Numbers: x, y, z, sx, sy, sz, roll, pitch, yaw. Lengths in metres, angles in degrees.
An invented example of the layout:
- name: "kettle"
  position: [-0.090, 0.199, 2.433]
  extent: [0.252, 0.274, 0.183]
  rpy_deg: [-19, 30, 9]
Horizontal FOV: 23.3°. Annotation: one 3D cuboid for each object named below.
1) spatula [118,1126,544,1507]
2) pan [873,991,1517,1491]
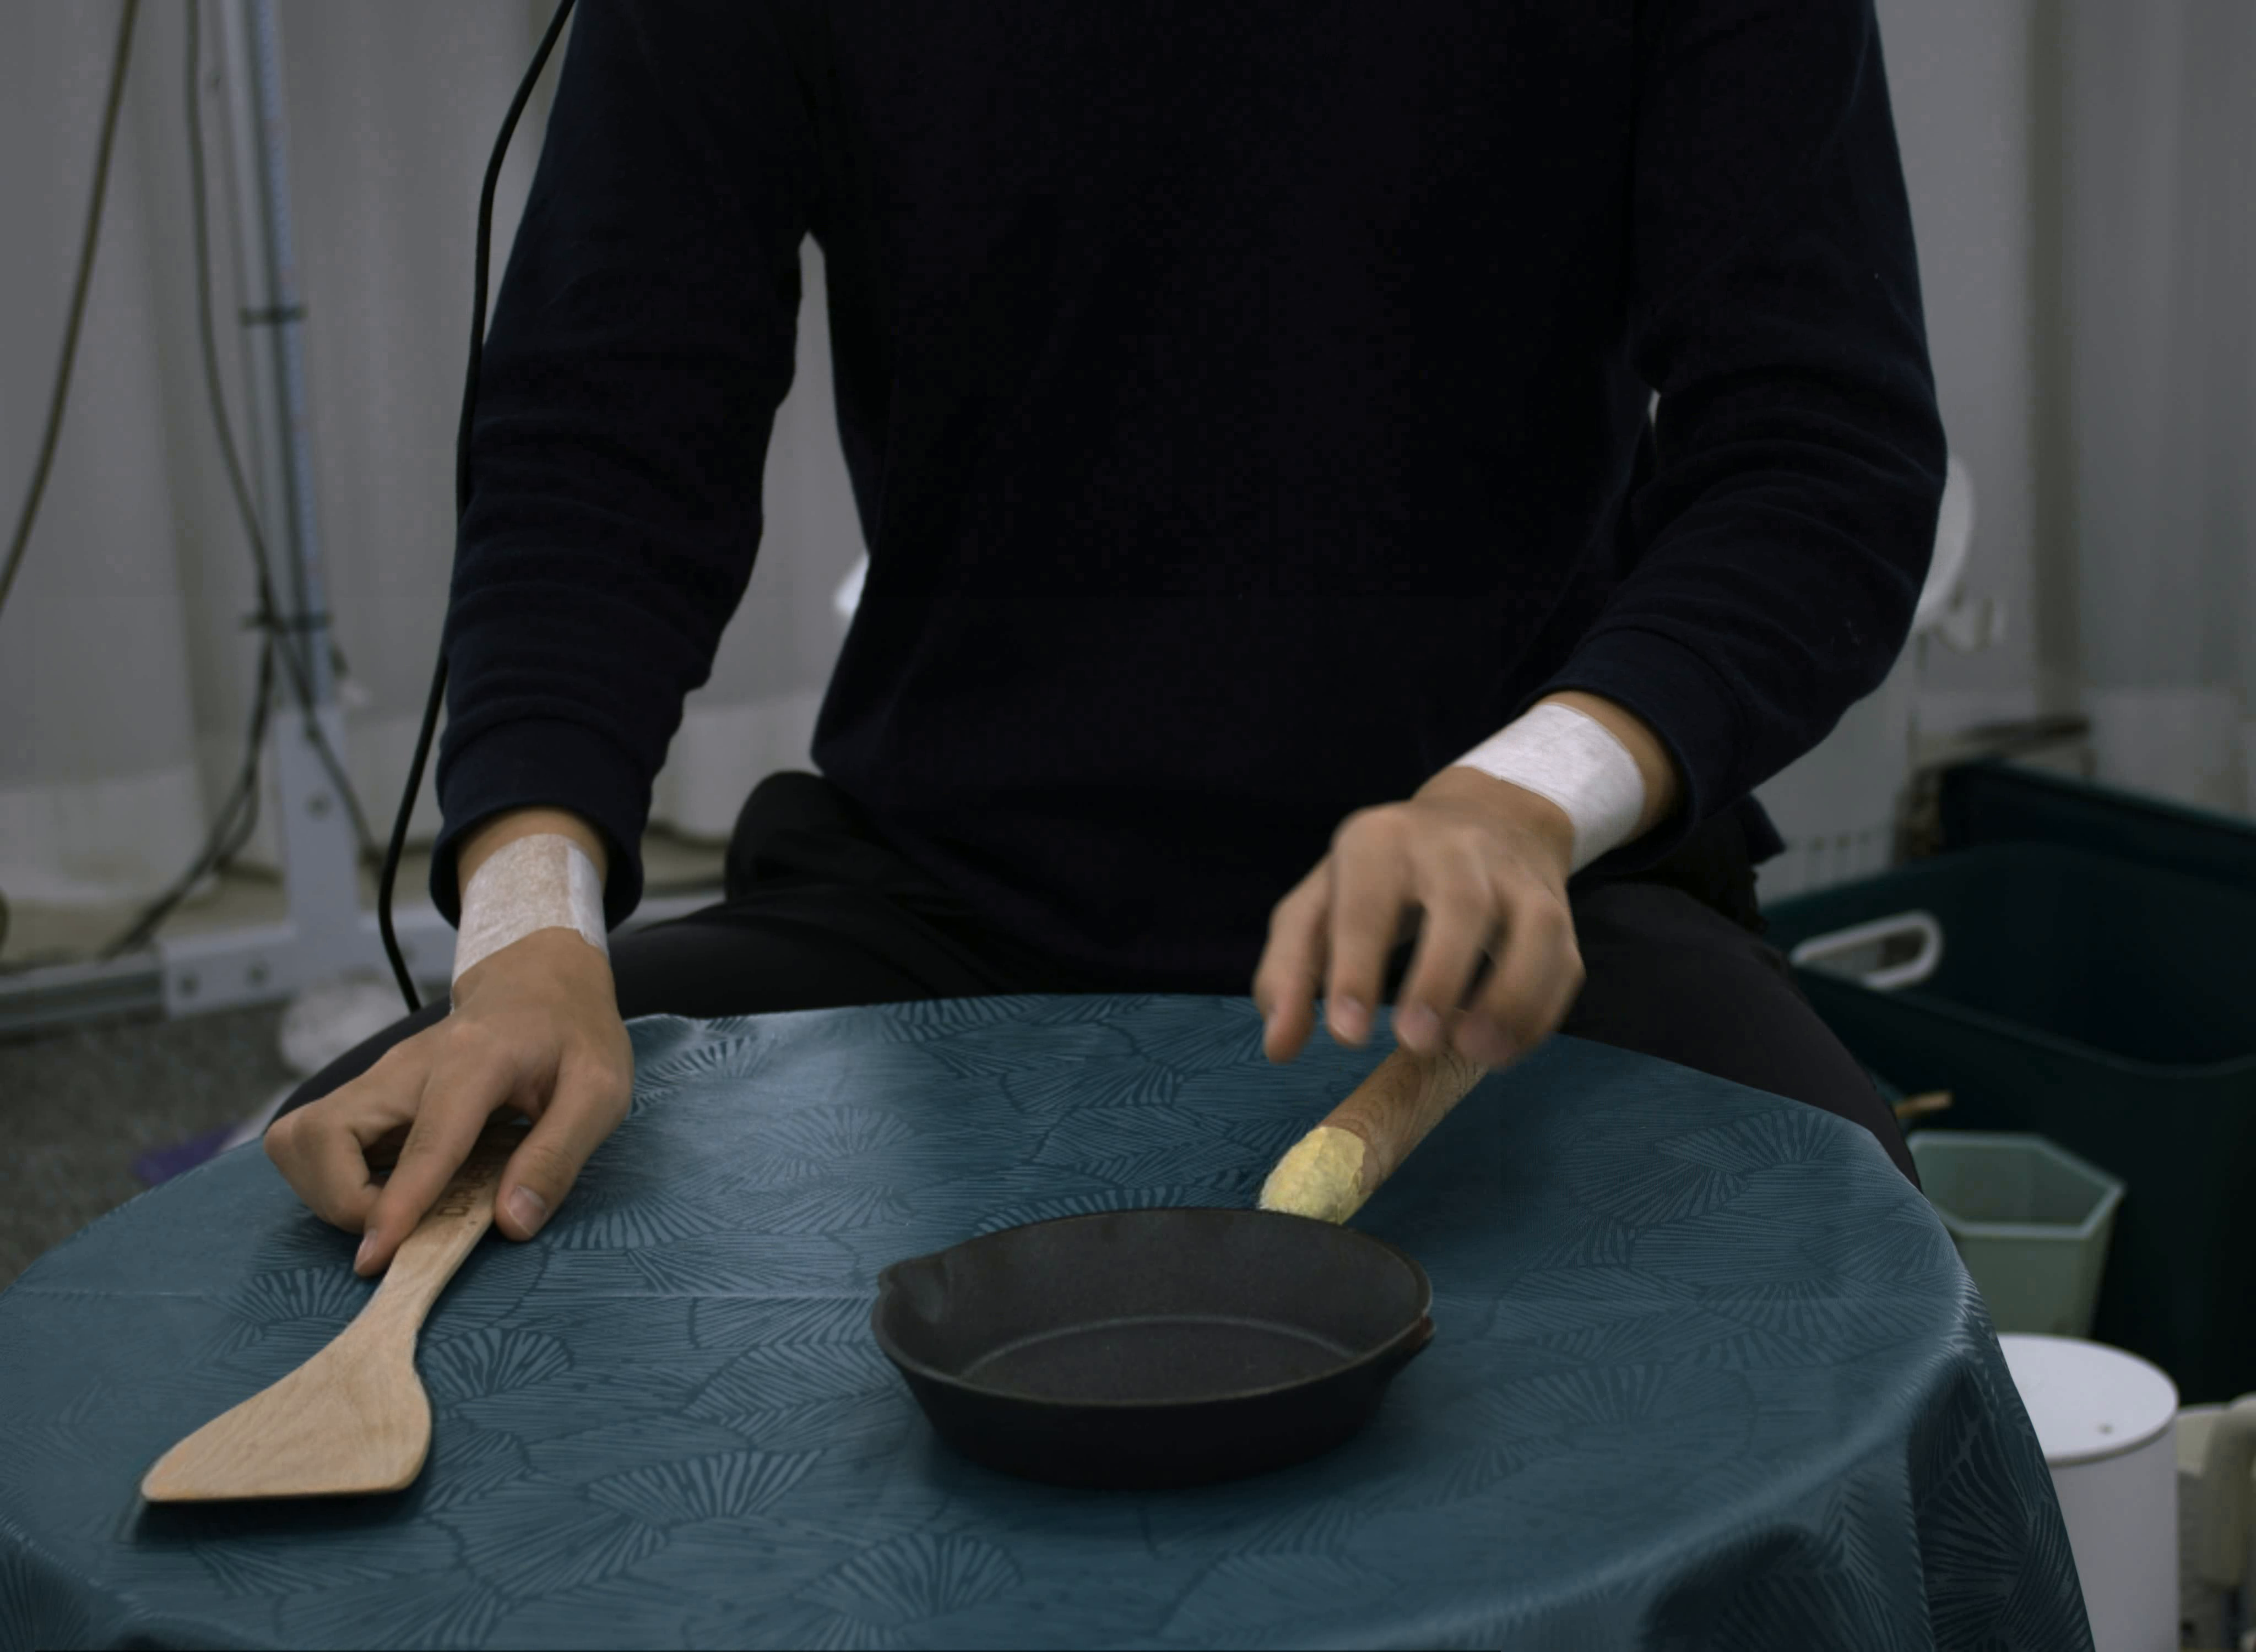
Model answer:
- name: "spatula"
  position: [-0.217, 0.142, 1.622]
  extent: [0.080, 0.016, 0.329]
  rpy_deg: [0, 16, 7]
- name: "pan"
  position: [0.046, 0.118, 1.598]
  extent: [0.169, 0.049, 0.325]
  rpy_deg: [5, 18, 28]
